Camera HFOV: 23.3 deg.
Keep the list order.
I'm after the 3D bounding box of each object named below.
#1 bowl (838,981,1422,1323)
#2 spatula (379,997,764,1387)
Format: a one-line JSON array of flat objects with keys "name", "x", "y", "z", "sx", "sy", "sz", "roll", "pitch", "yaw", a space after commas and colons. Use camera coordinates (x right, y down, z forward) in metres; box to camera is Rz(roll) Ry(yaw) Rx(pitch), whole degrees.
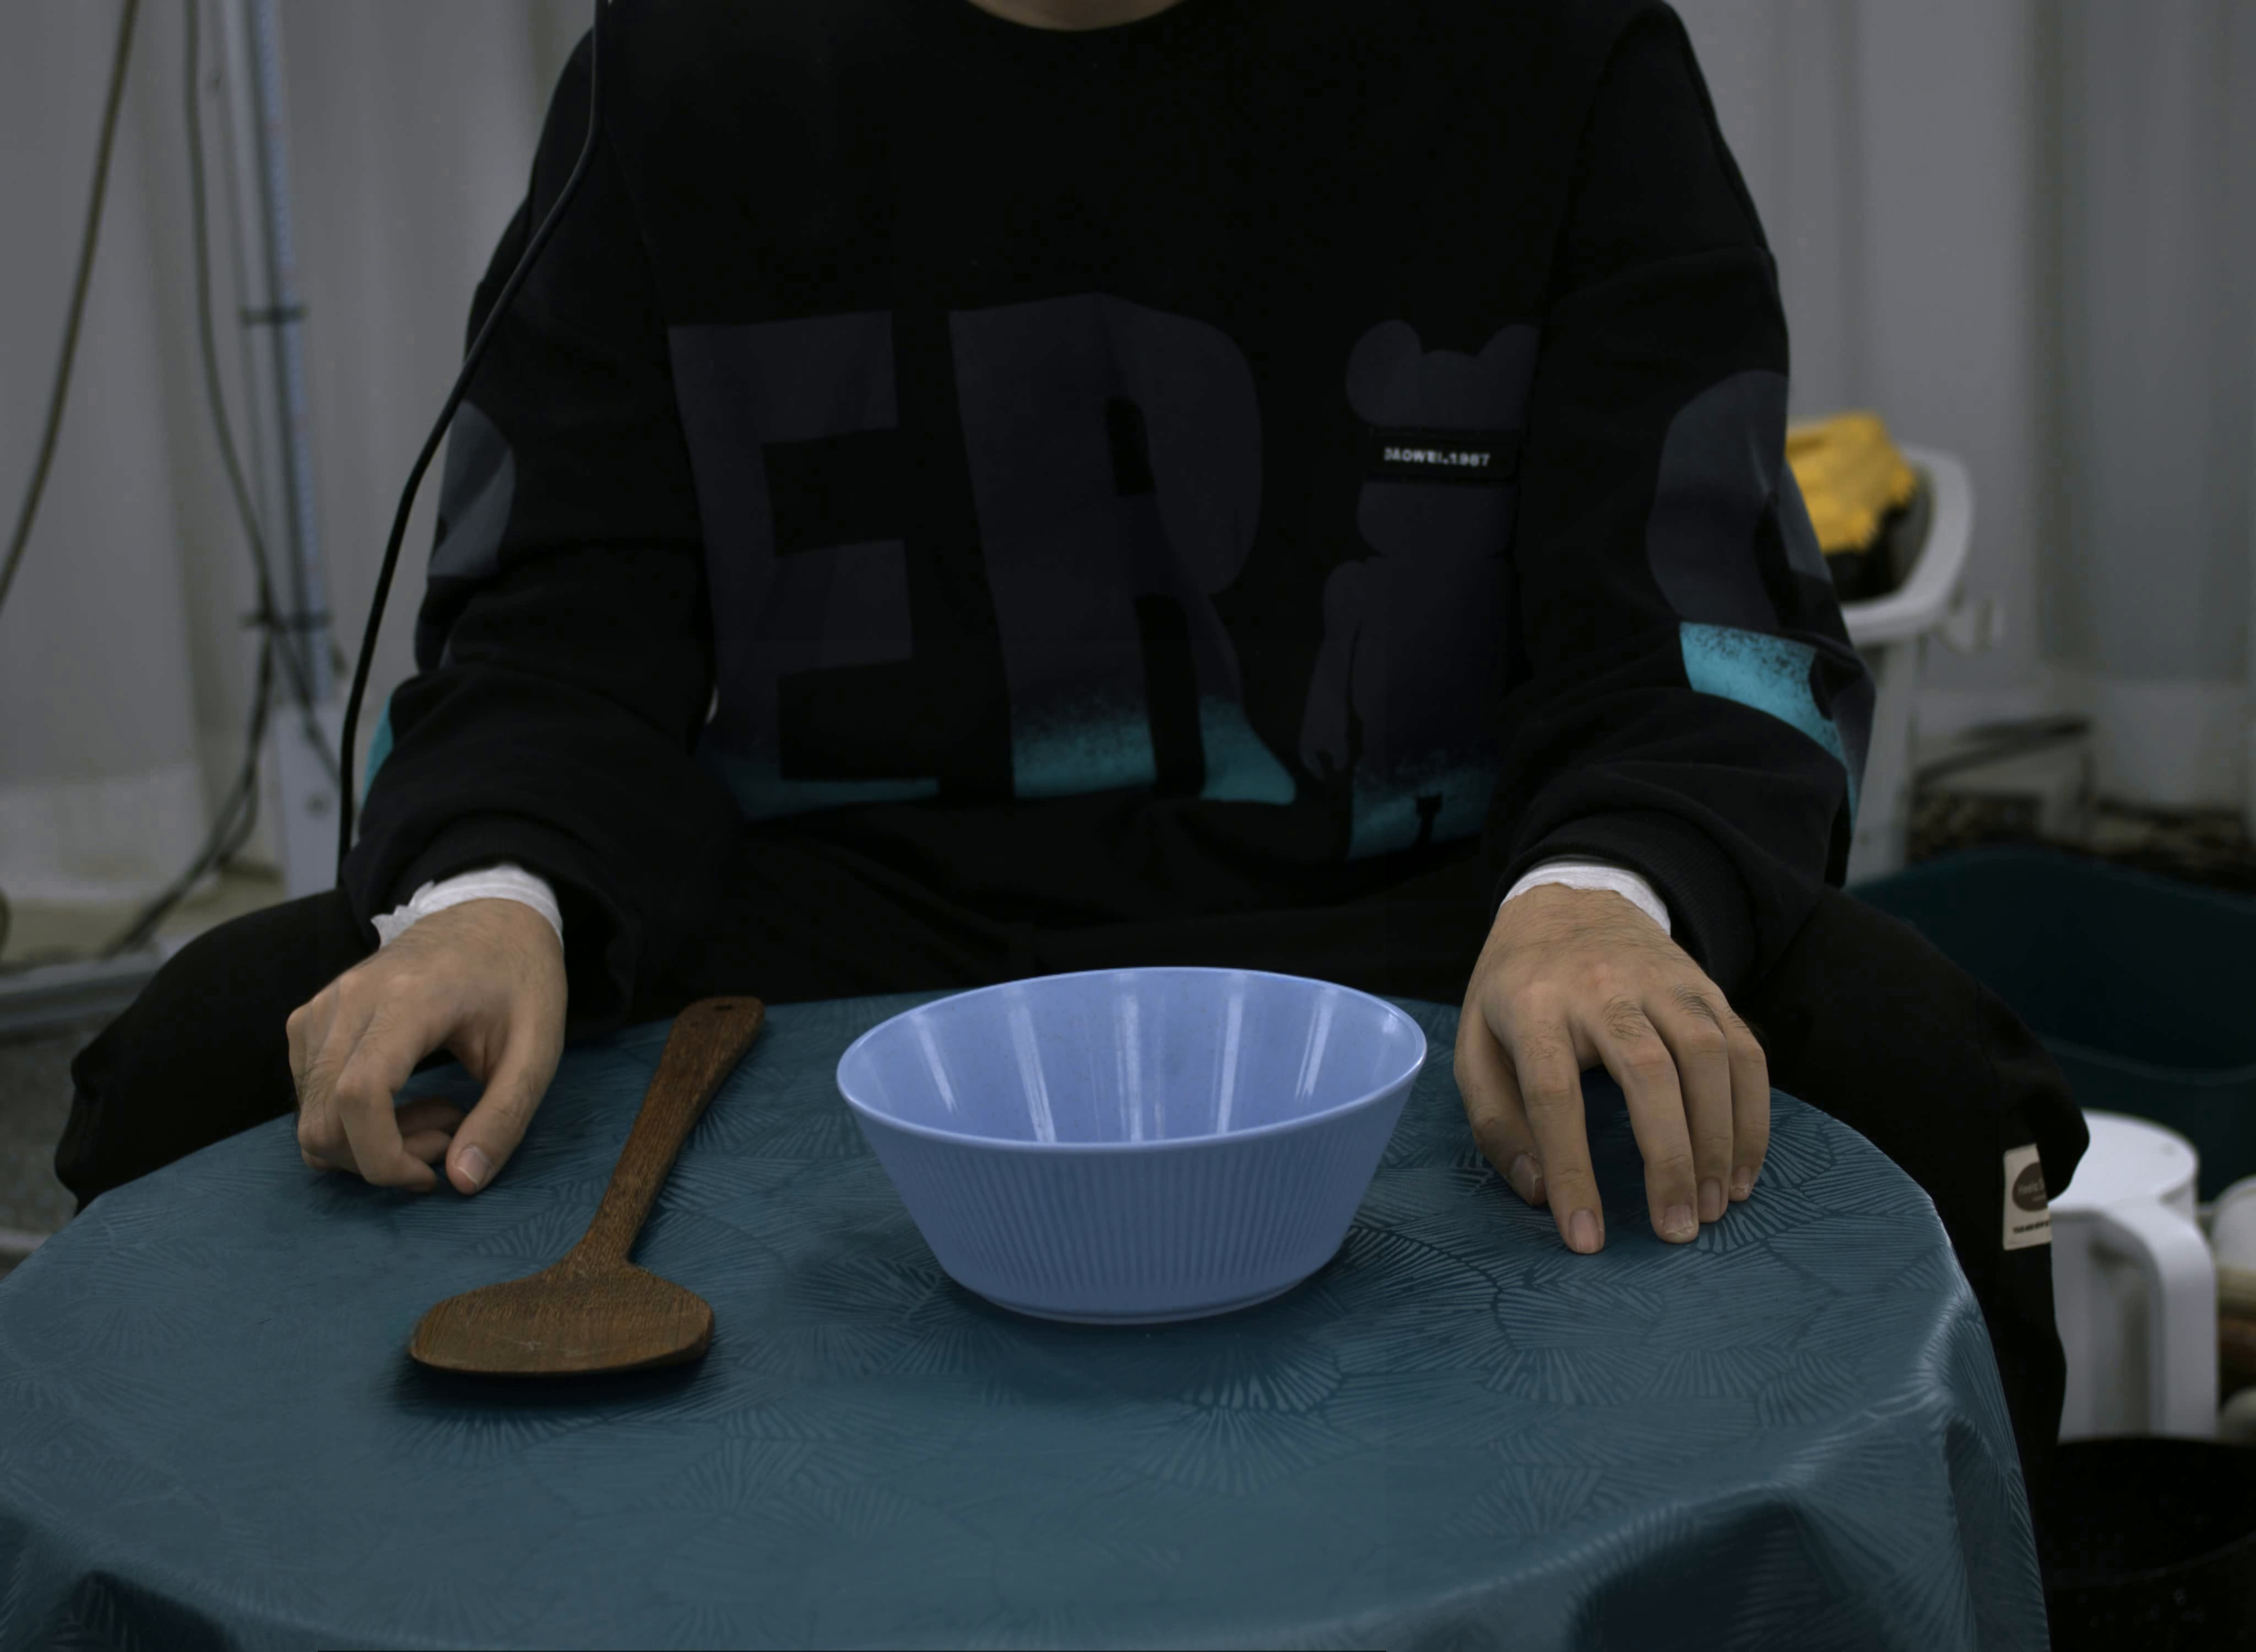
[{"name": "bowl", "x": 0.002, "y": 0.100, "z": 1.638, "sx": 0.175, "sy": 0.070, "sz": 0.177, "roll": -2, "pitch": 13, "yaw": 0}, {"name": "spatula", "x": -0.155, "y": 0.110, "z": 1.736, "sx": 0.096, "sy": 0.016, "sz": 0.388, "roll": -1, "pitch": 15, "yaw": 5}]
